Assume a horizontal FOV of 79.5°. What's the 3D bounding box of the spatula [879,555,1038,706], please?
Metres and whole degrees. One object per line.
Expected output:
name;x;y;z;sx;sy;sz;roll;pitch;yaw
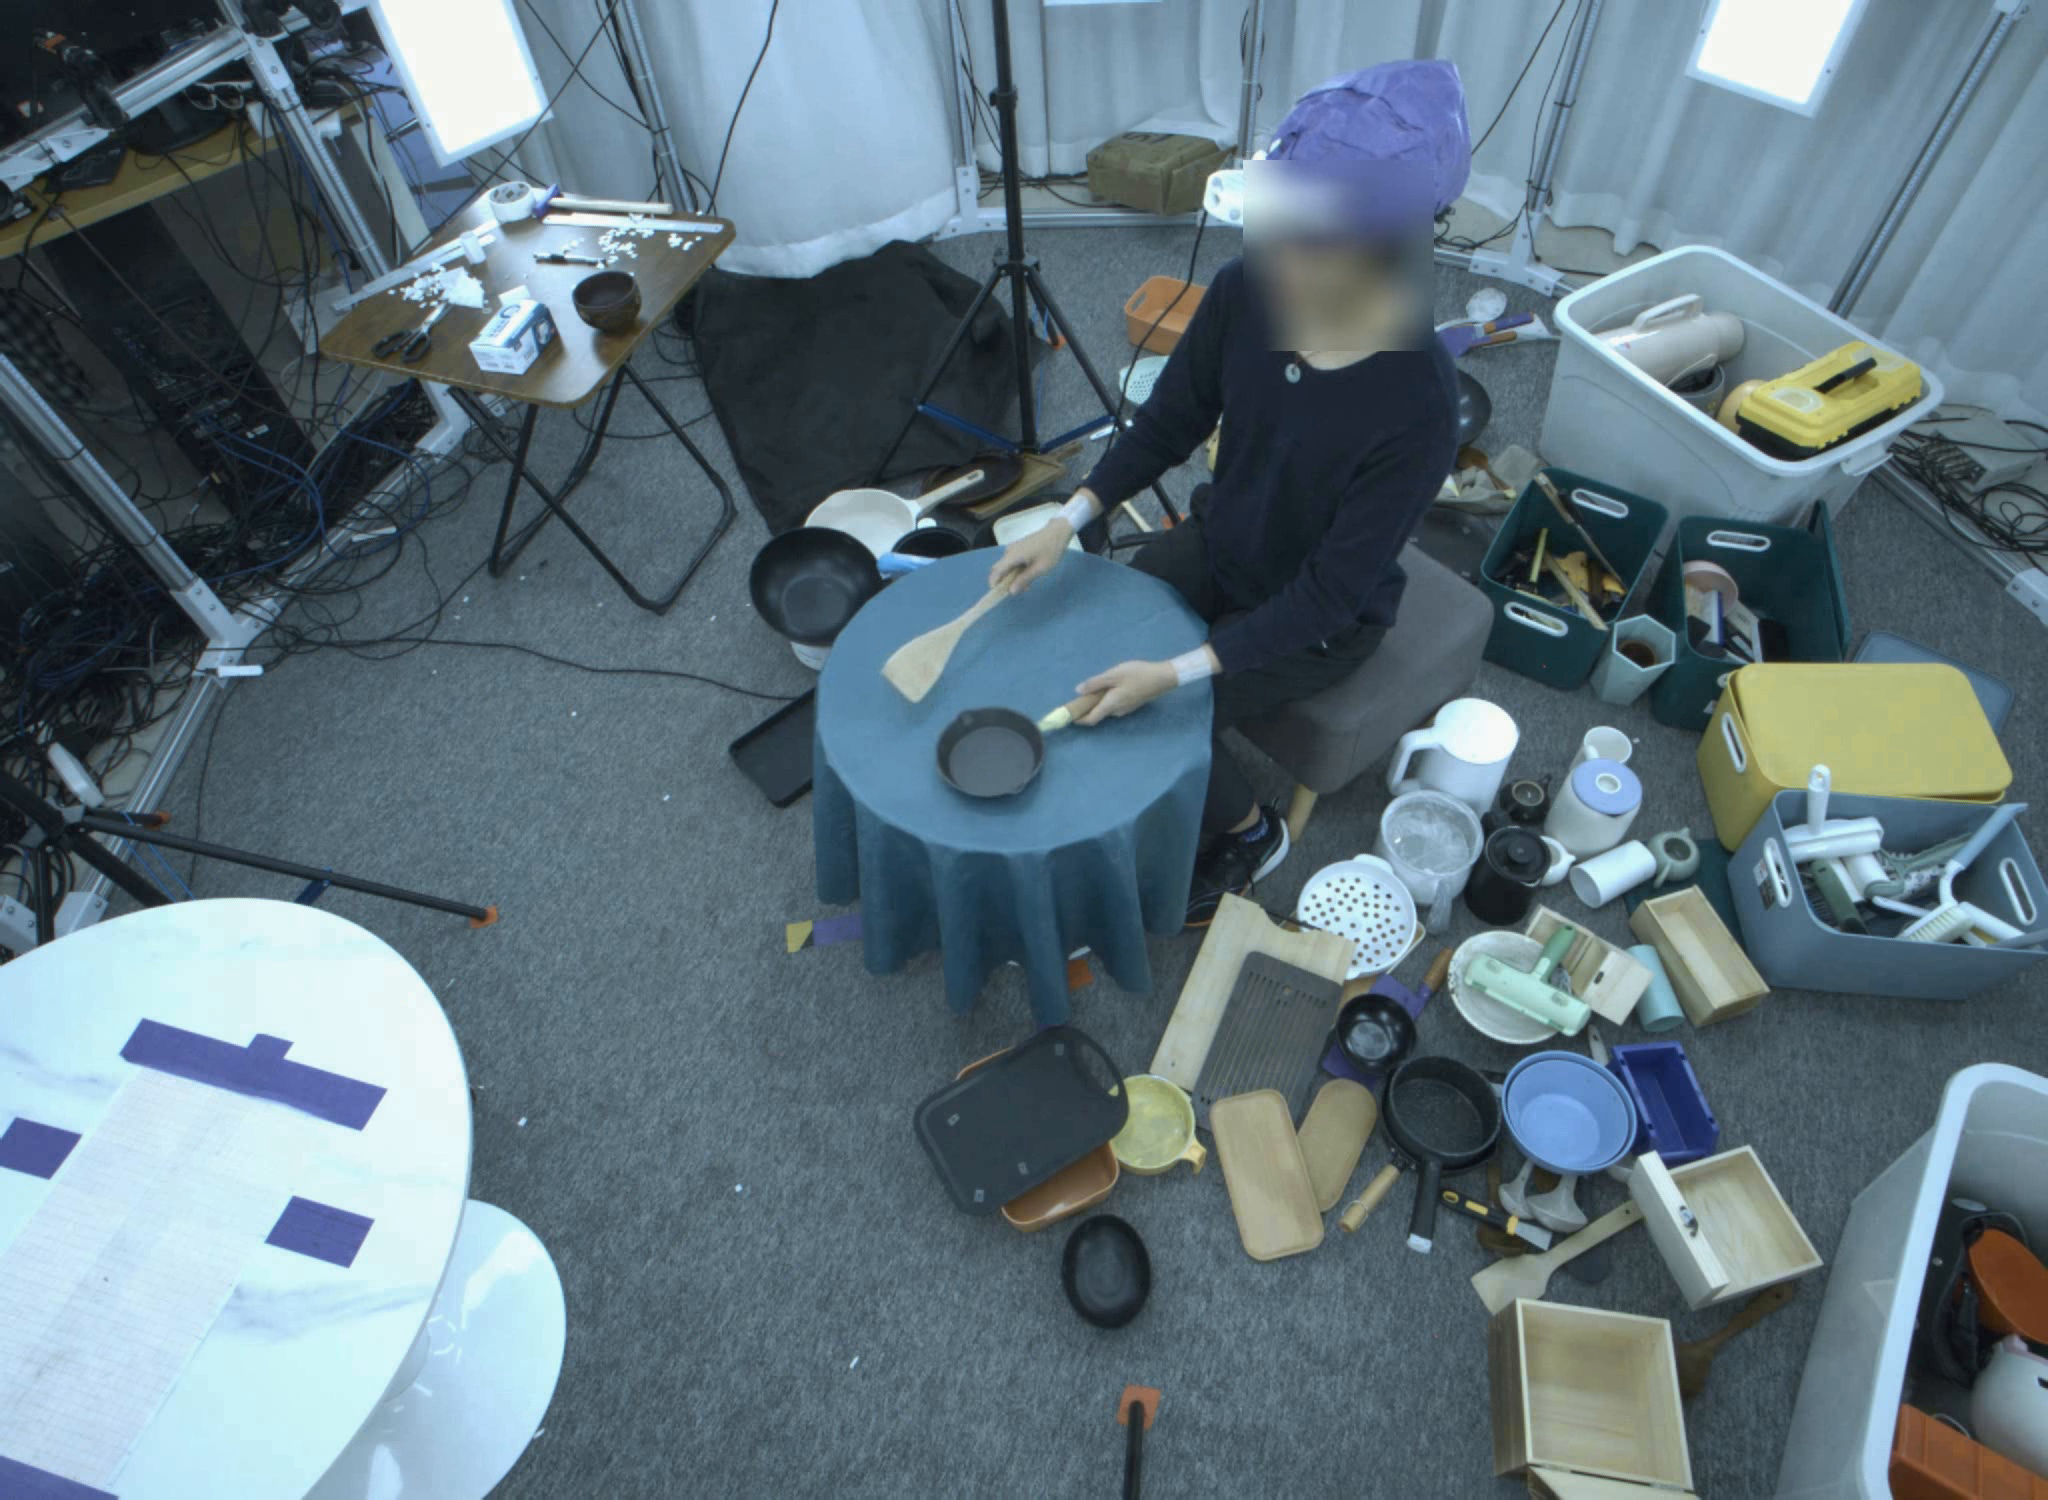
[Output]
spatula;-0.088;-0.191;1.844;0.329;0.081;0.016;-45;27;-22

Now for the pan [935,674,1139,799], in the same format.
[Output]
pan;0.027;-0.030;1.776;0.326;0.050;0.166;-26;58;-13
